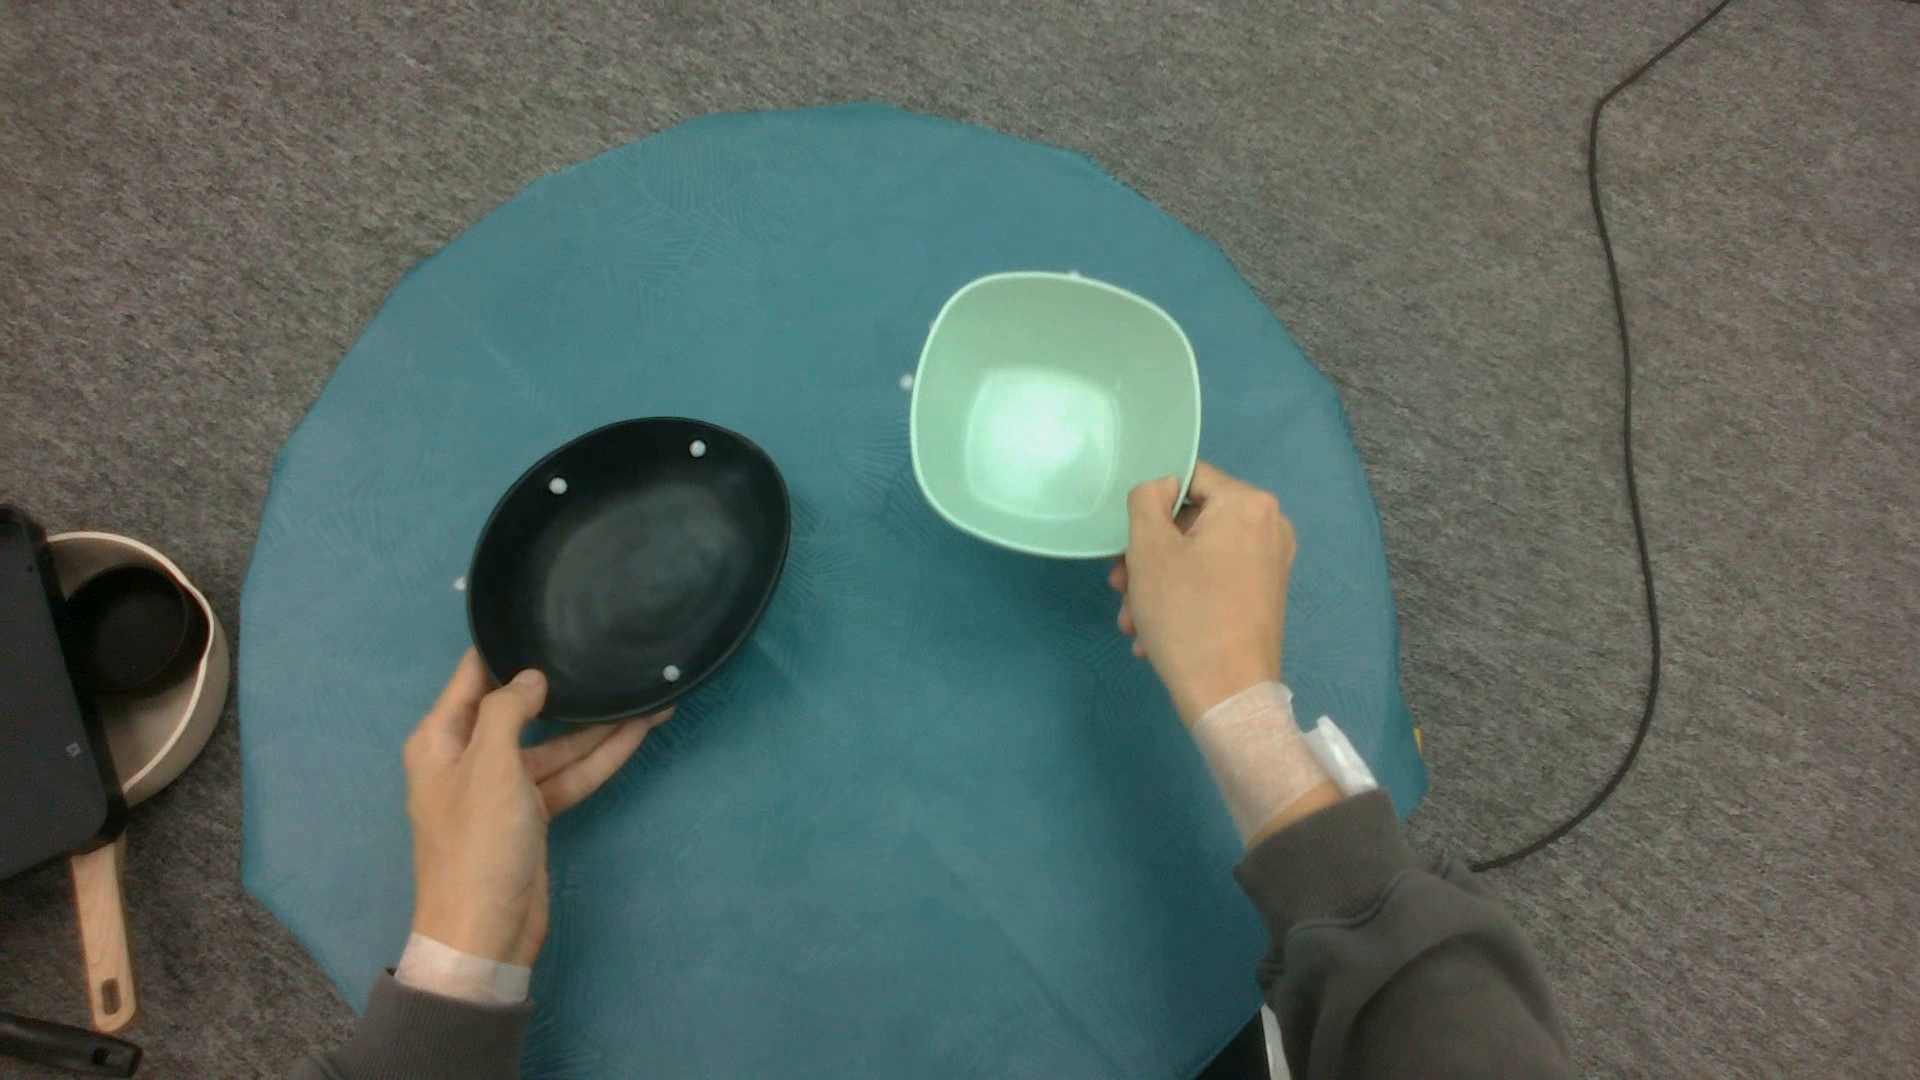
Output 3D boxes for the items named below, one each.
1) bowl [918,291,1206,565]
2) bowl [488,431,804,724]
[{"bbox_3d":[0.048,-0.050,0.691,0.151,0.058,0.152,1,75,-3],"label":"bowl"},{"bbox_3d":[-0.154,0.021,0.700,0.137,0.066,0.171,36,71,10],"label":"bowl"}]
